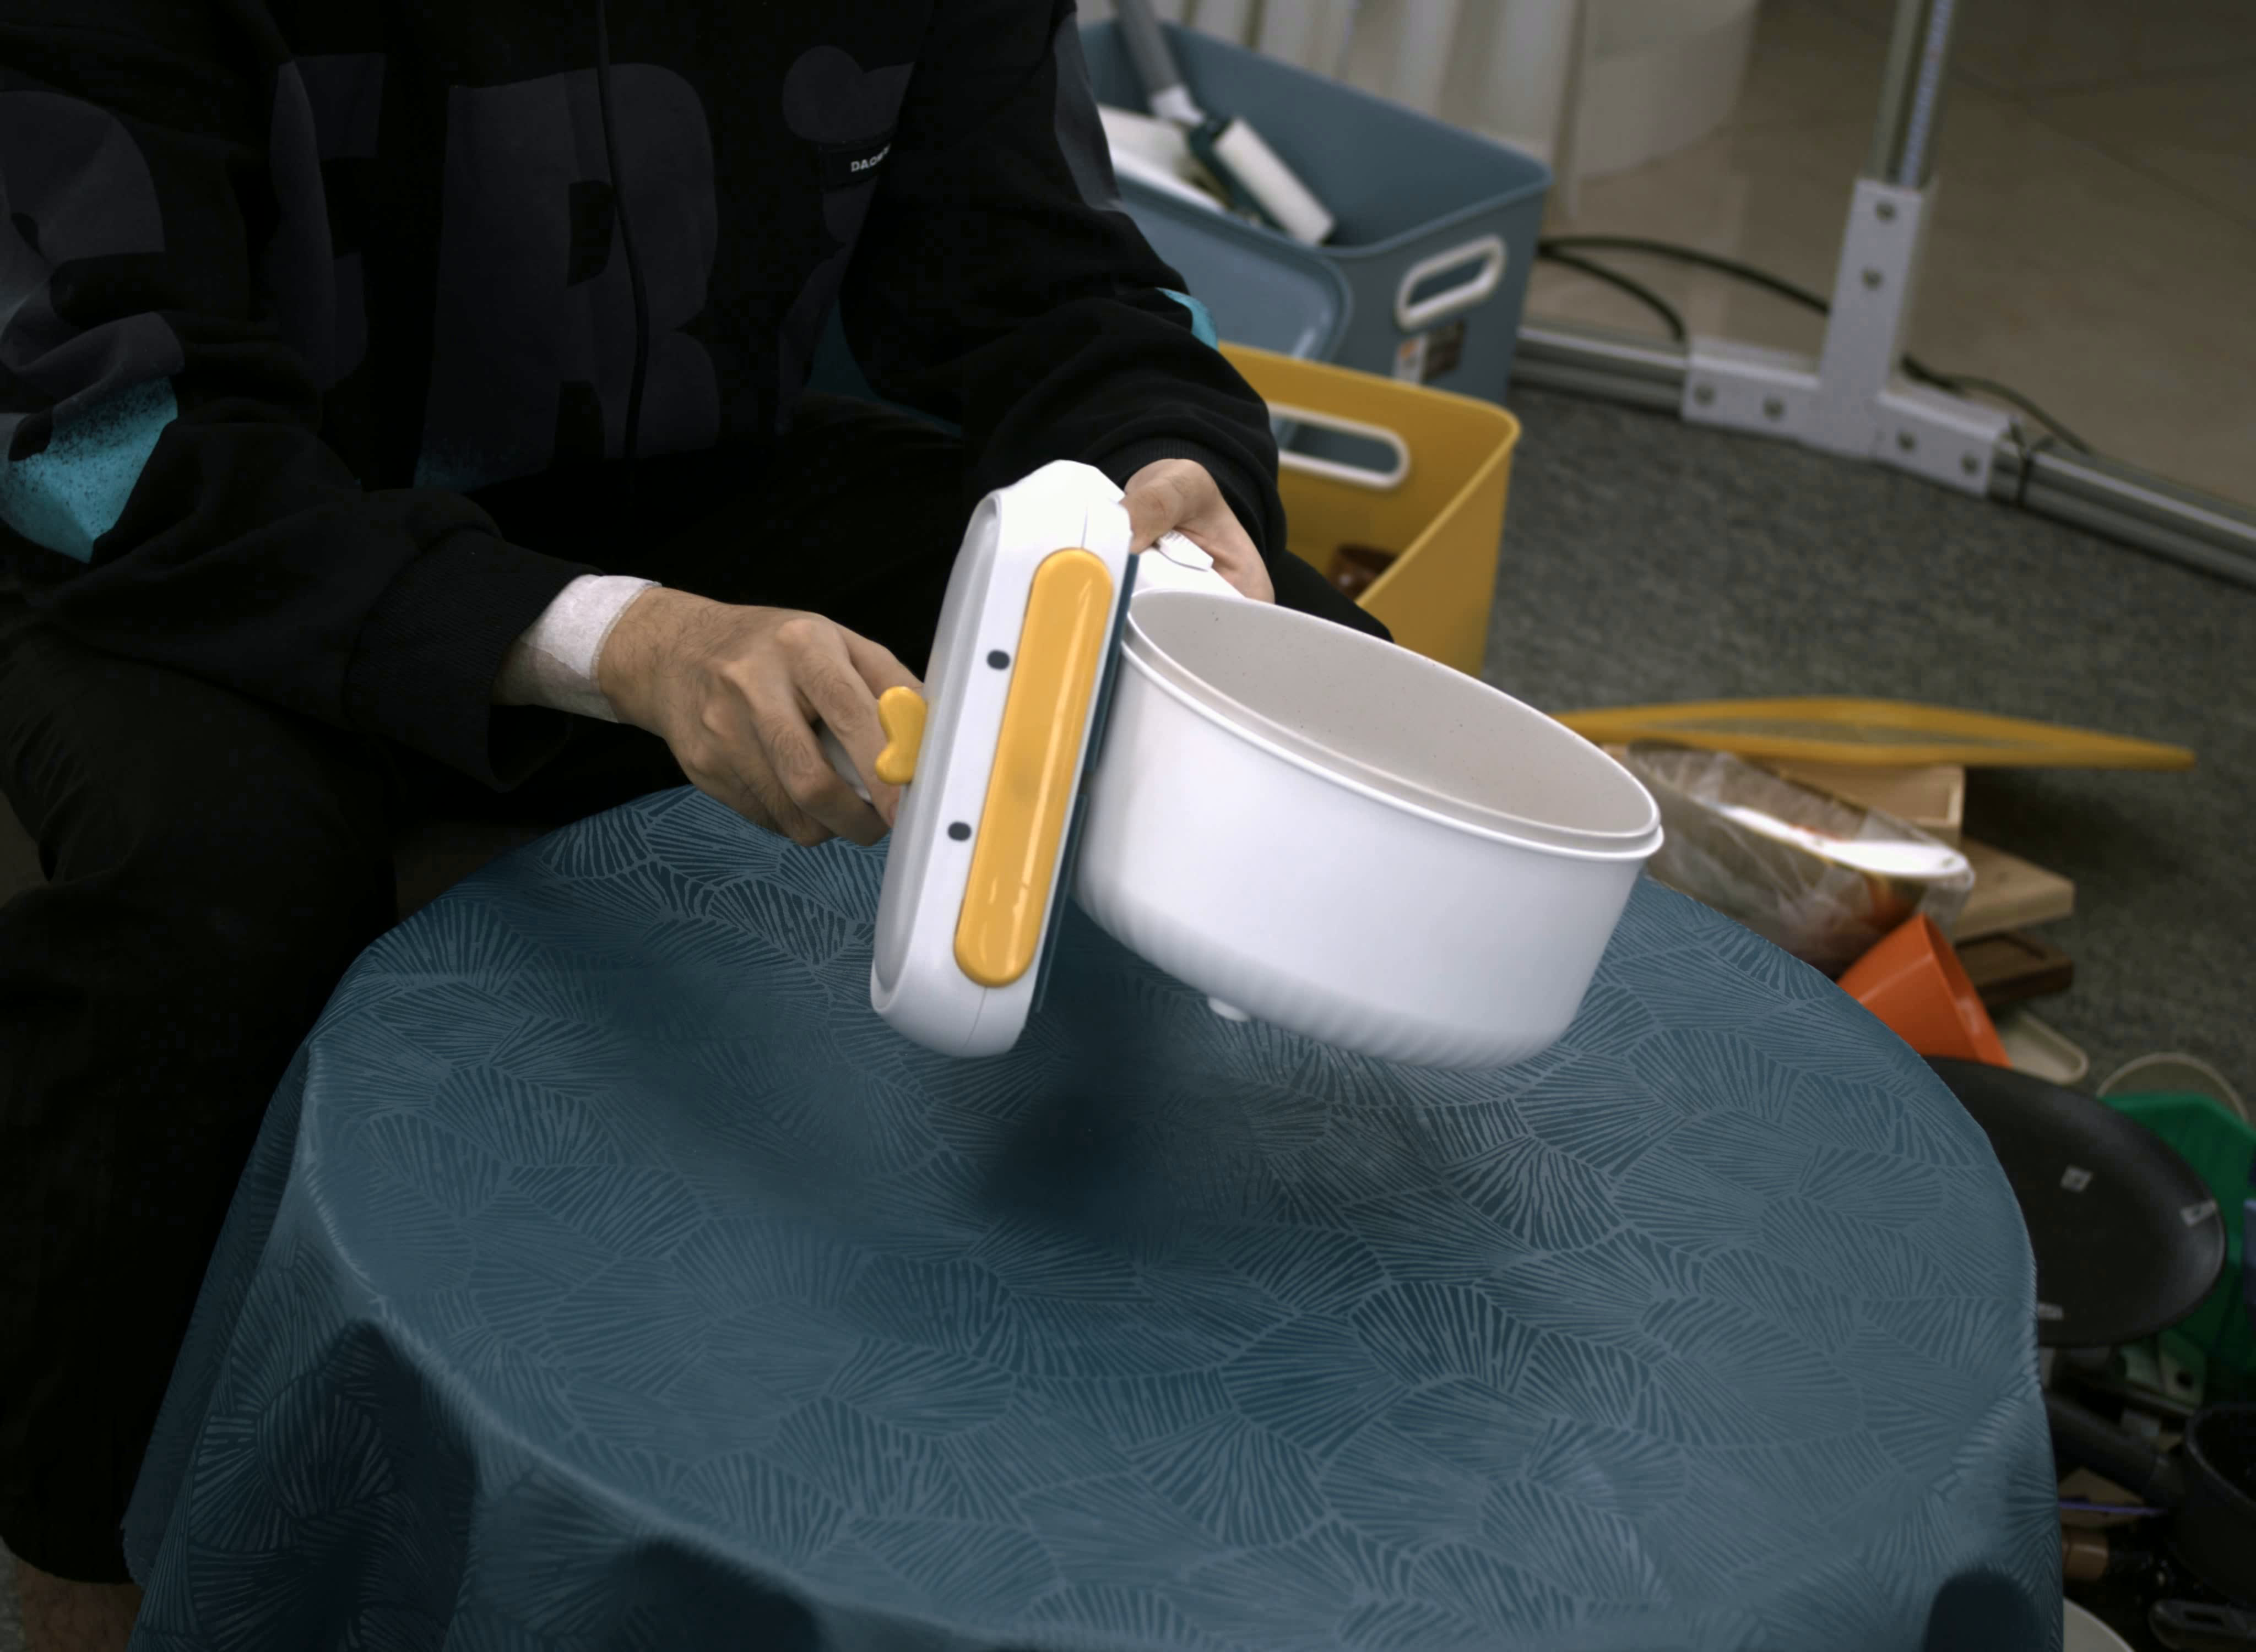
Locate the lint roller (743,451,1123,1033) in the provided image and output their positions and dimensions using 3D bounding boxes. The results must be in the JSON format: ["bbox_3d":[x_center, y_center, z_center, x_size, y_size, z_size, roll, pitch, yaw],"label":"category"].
[{"bbox_3d":[-0.071,-0.027,1.801,0.073,0.193,0.193,9,-6,-23],"label":"lint roller"}]

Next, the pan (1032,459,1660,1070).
[{"bbox_3d":[0.036,-0.025,1.859,0.199,0.102,0.358,12,17,-32],"label":"pan"}]
